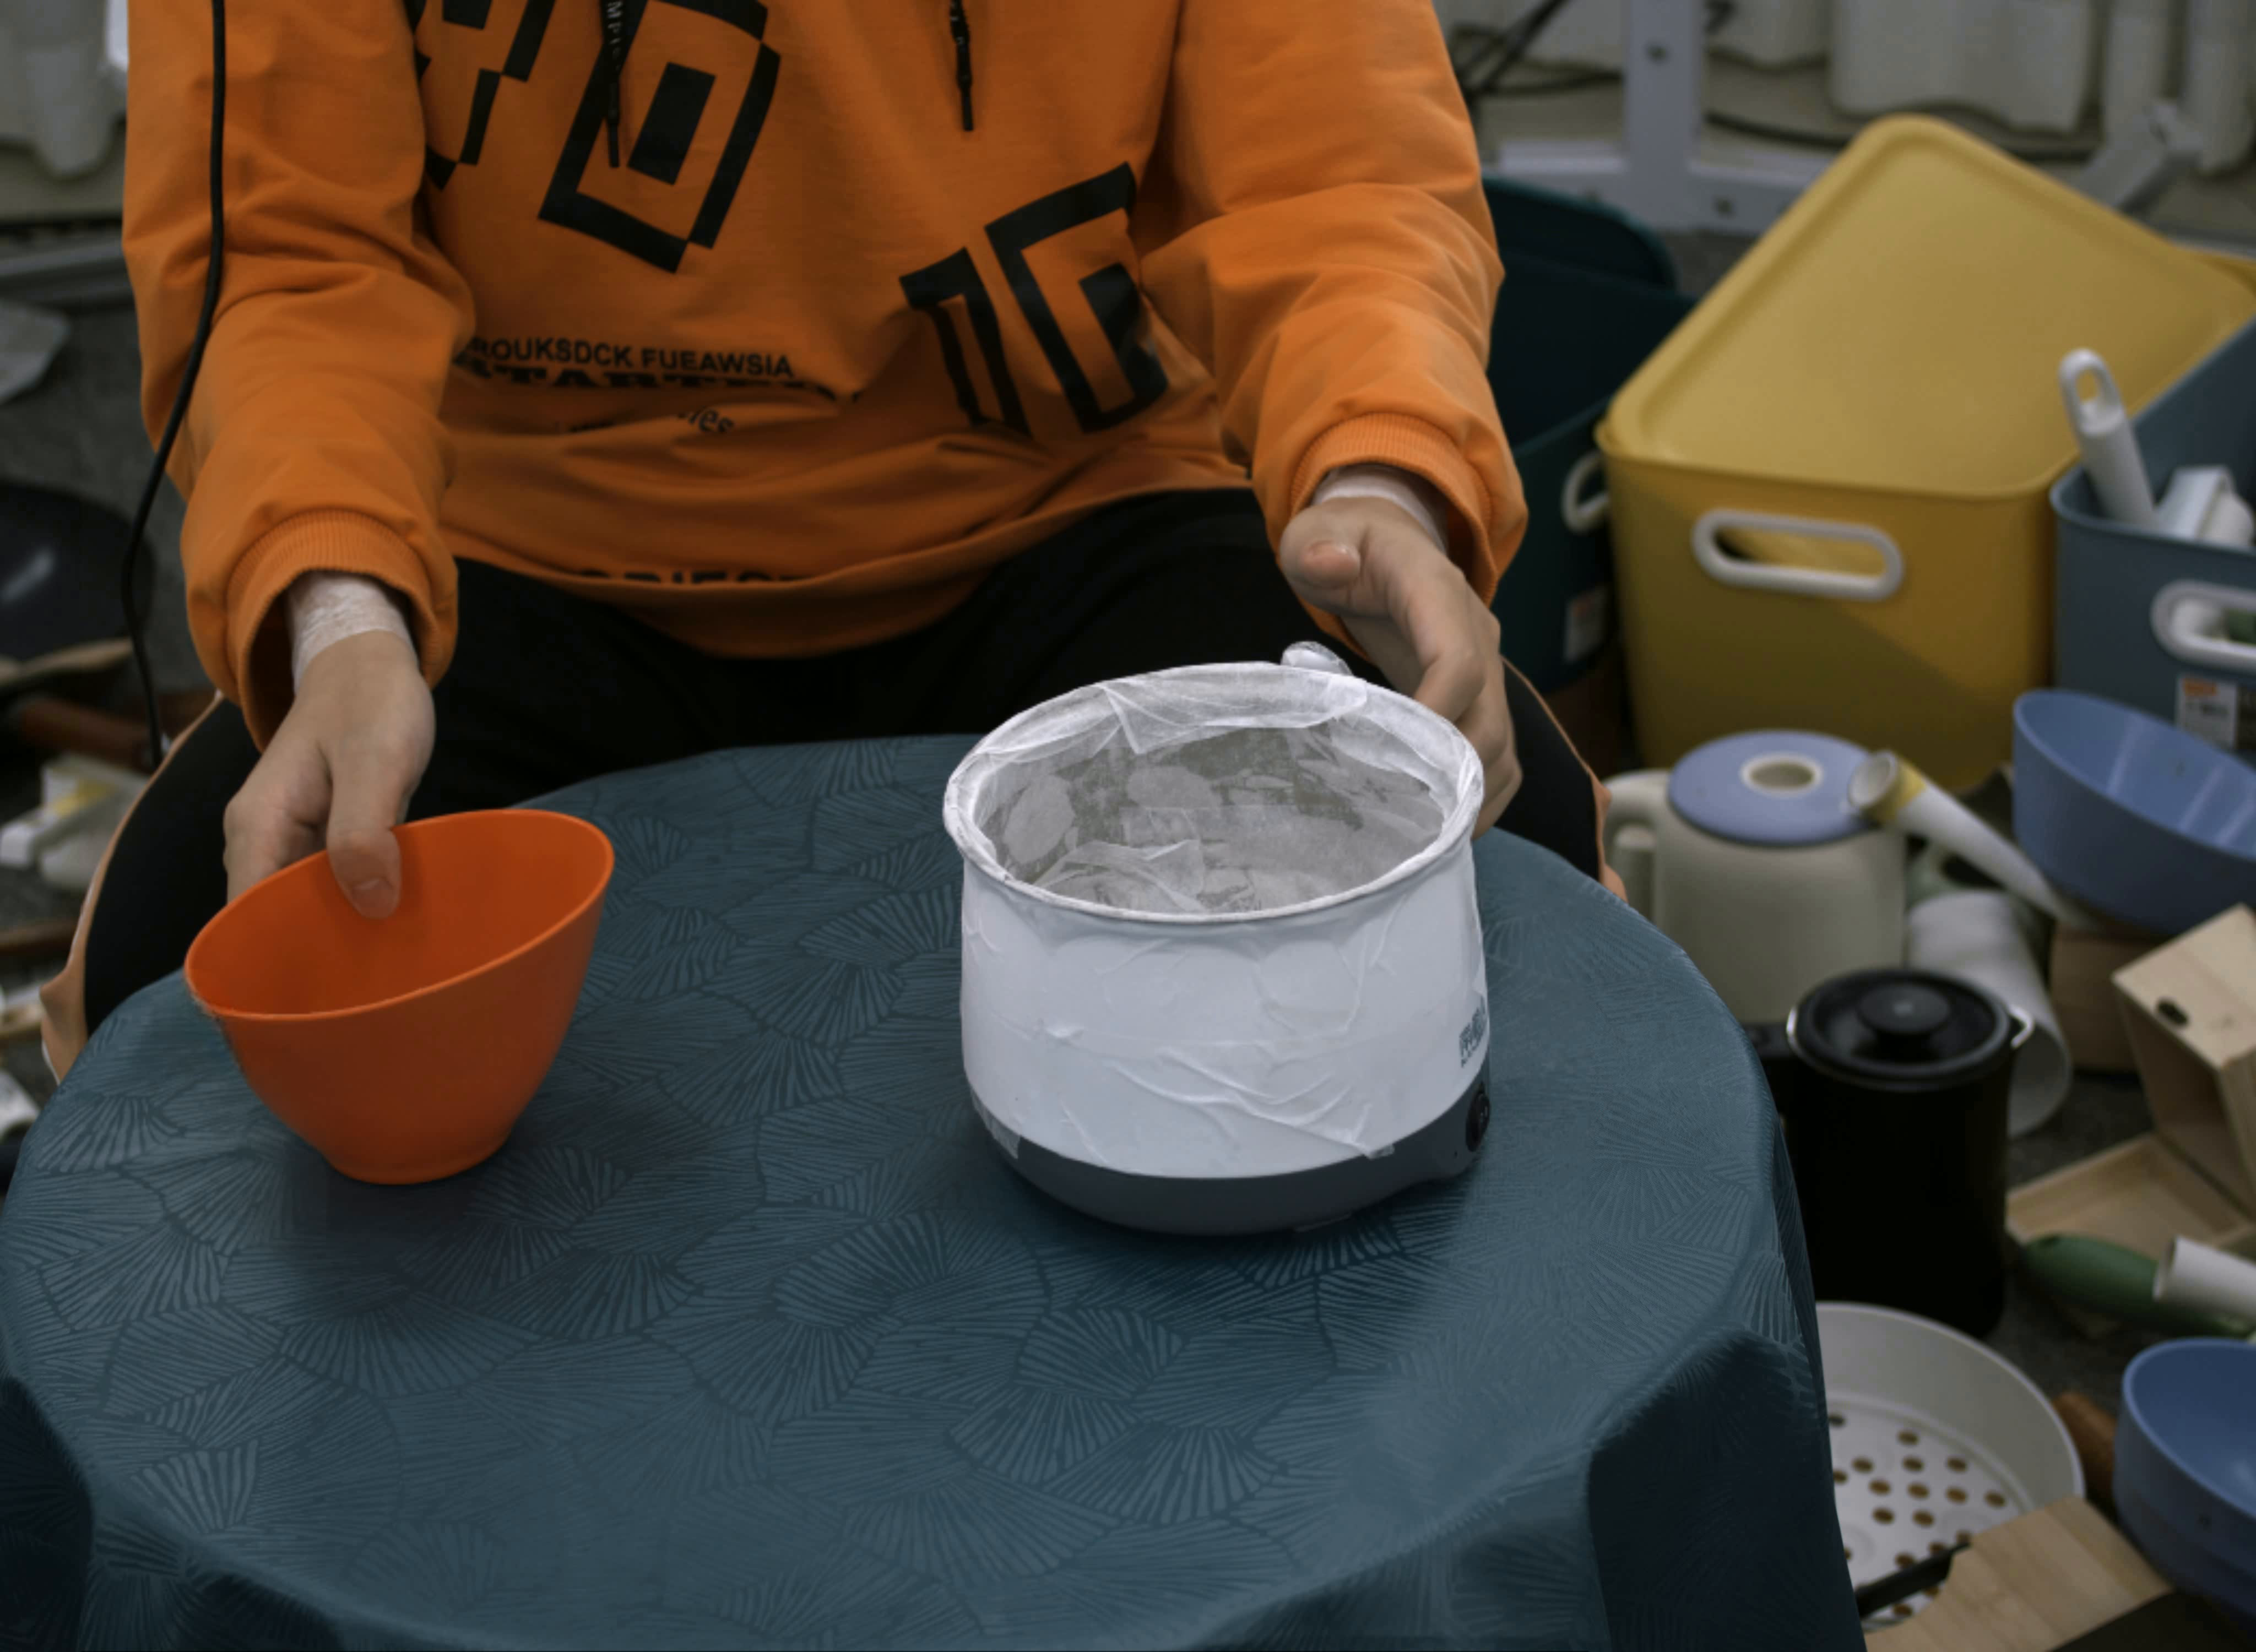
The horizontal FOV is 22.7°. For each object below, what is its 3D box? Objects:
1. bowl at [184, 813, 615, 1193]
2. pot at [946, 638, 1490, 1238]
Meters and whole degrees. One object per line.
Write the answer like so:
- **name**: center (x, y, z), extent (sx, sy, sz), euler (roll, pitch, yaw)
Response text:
- **bowl**: center (-0.238, 0.066, 1.885), extent (0.147, 0.103, 0.150), euler (-5, 30, 3)
- **pot**: center (0.040, 0.030, 1.887), extent (0.177, 0.135, 0.238), euler (6, 29, 17)
